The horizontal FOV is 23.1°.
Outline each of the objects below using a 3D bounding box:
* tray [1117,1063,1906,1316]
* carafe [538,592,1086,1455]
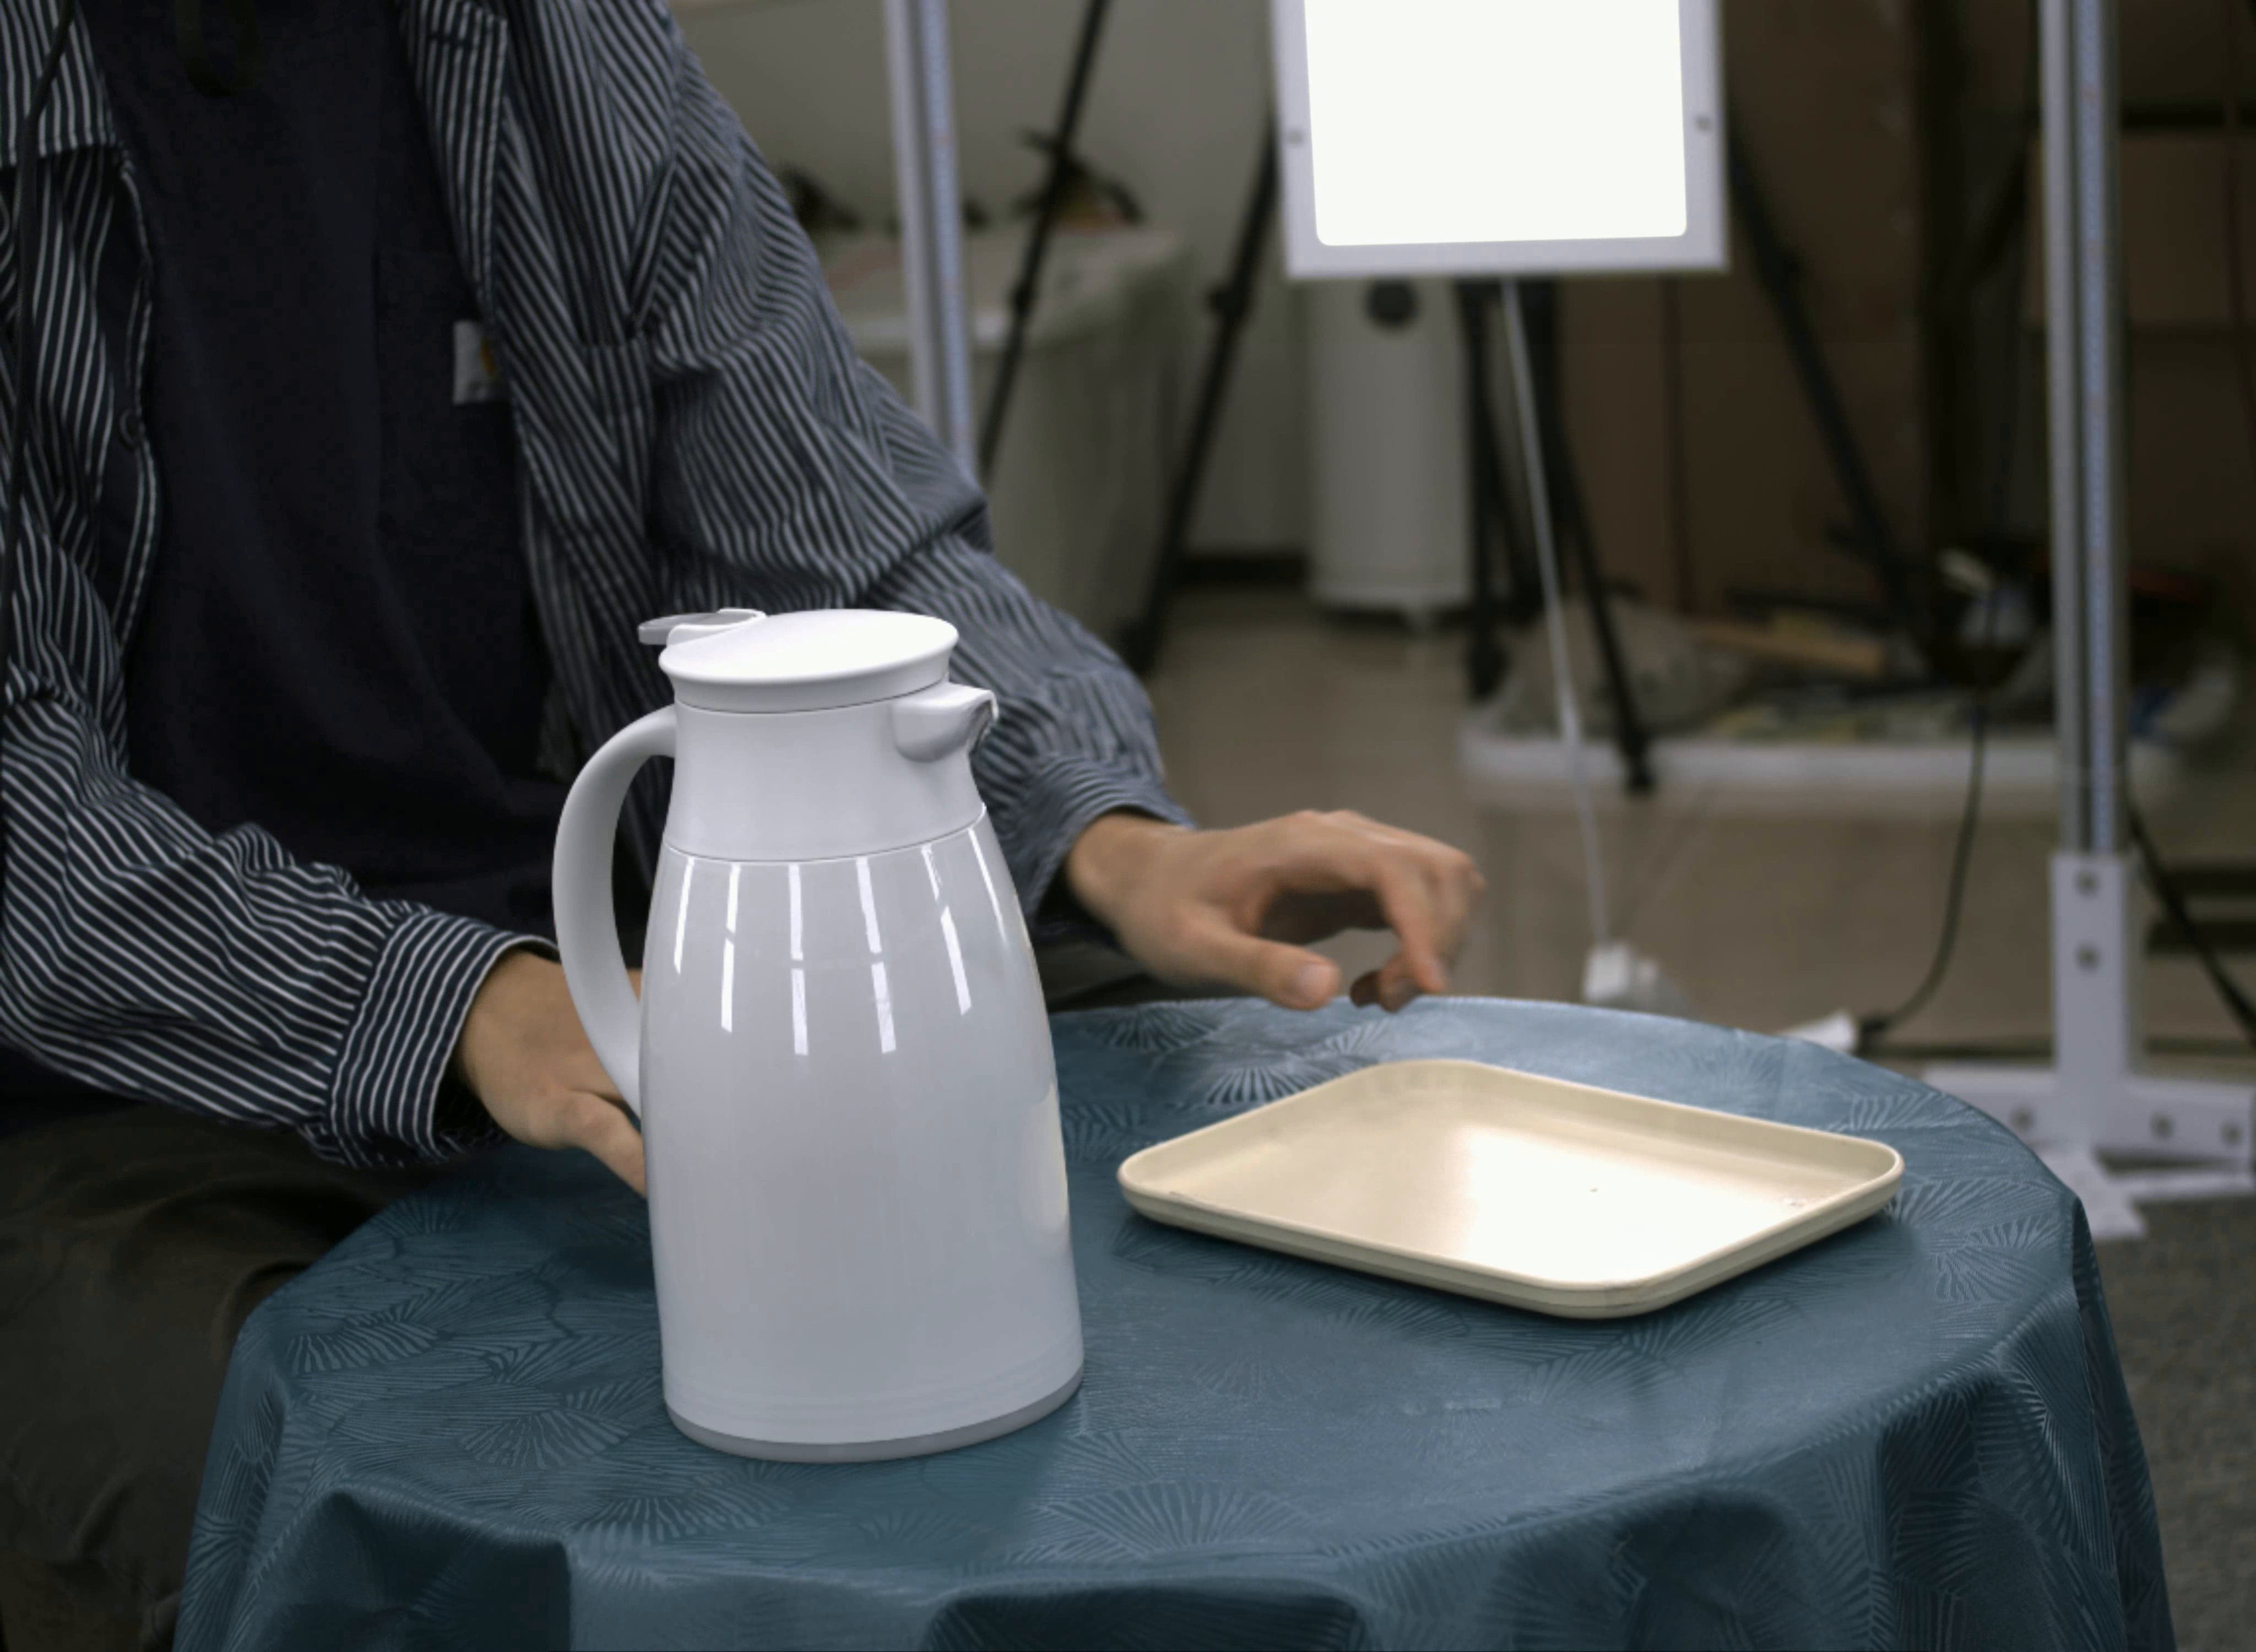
[{"bbox_3d":[0.127,0.120,1.834,0.167,0.017,0.245,-17,18,-41],"label":"tray"},{"bbox_3d":[-0.105,0.053,1.700,0.171,0.249,0.129,2,16,30],"label":"carafe"}]
